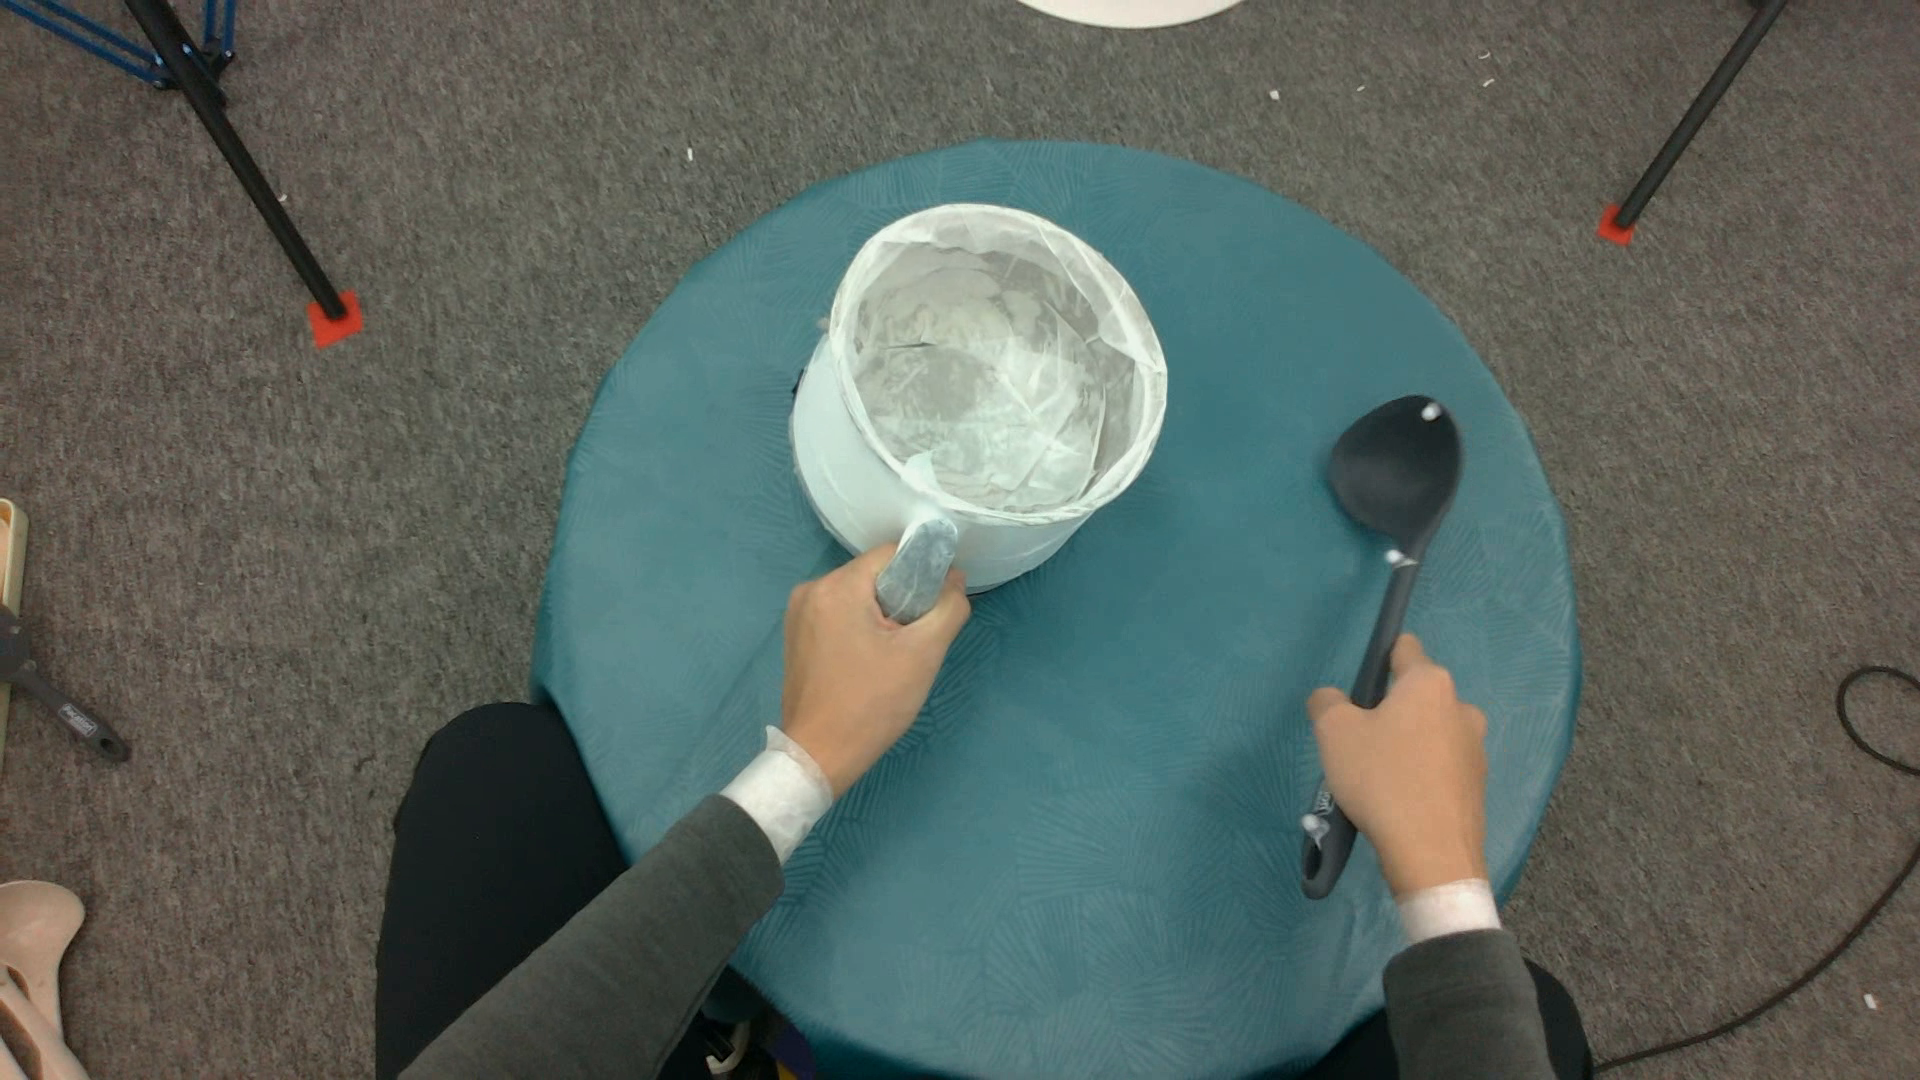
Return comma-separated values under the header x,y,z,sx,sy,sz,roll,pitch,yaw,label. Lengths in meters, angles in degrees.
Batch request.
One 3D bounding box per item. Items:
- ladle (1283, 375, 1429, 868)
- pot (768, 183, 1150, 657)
x,y,z,sx,sy,sz,roll,pitch,yaw,label
0.193,0.029,0.720,0.064,0.086,0.316,42,46,-14,ladle
-0.014,-0.055,0.725,0.179,0.136,0.234,23,64,-9,pot
